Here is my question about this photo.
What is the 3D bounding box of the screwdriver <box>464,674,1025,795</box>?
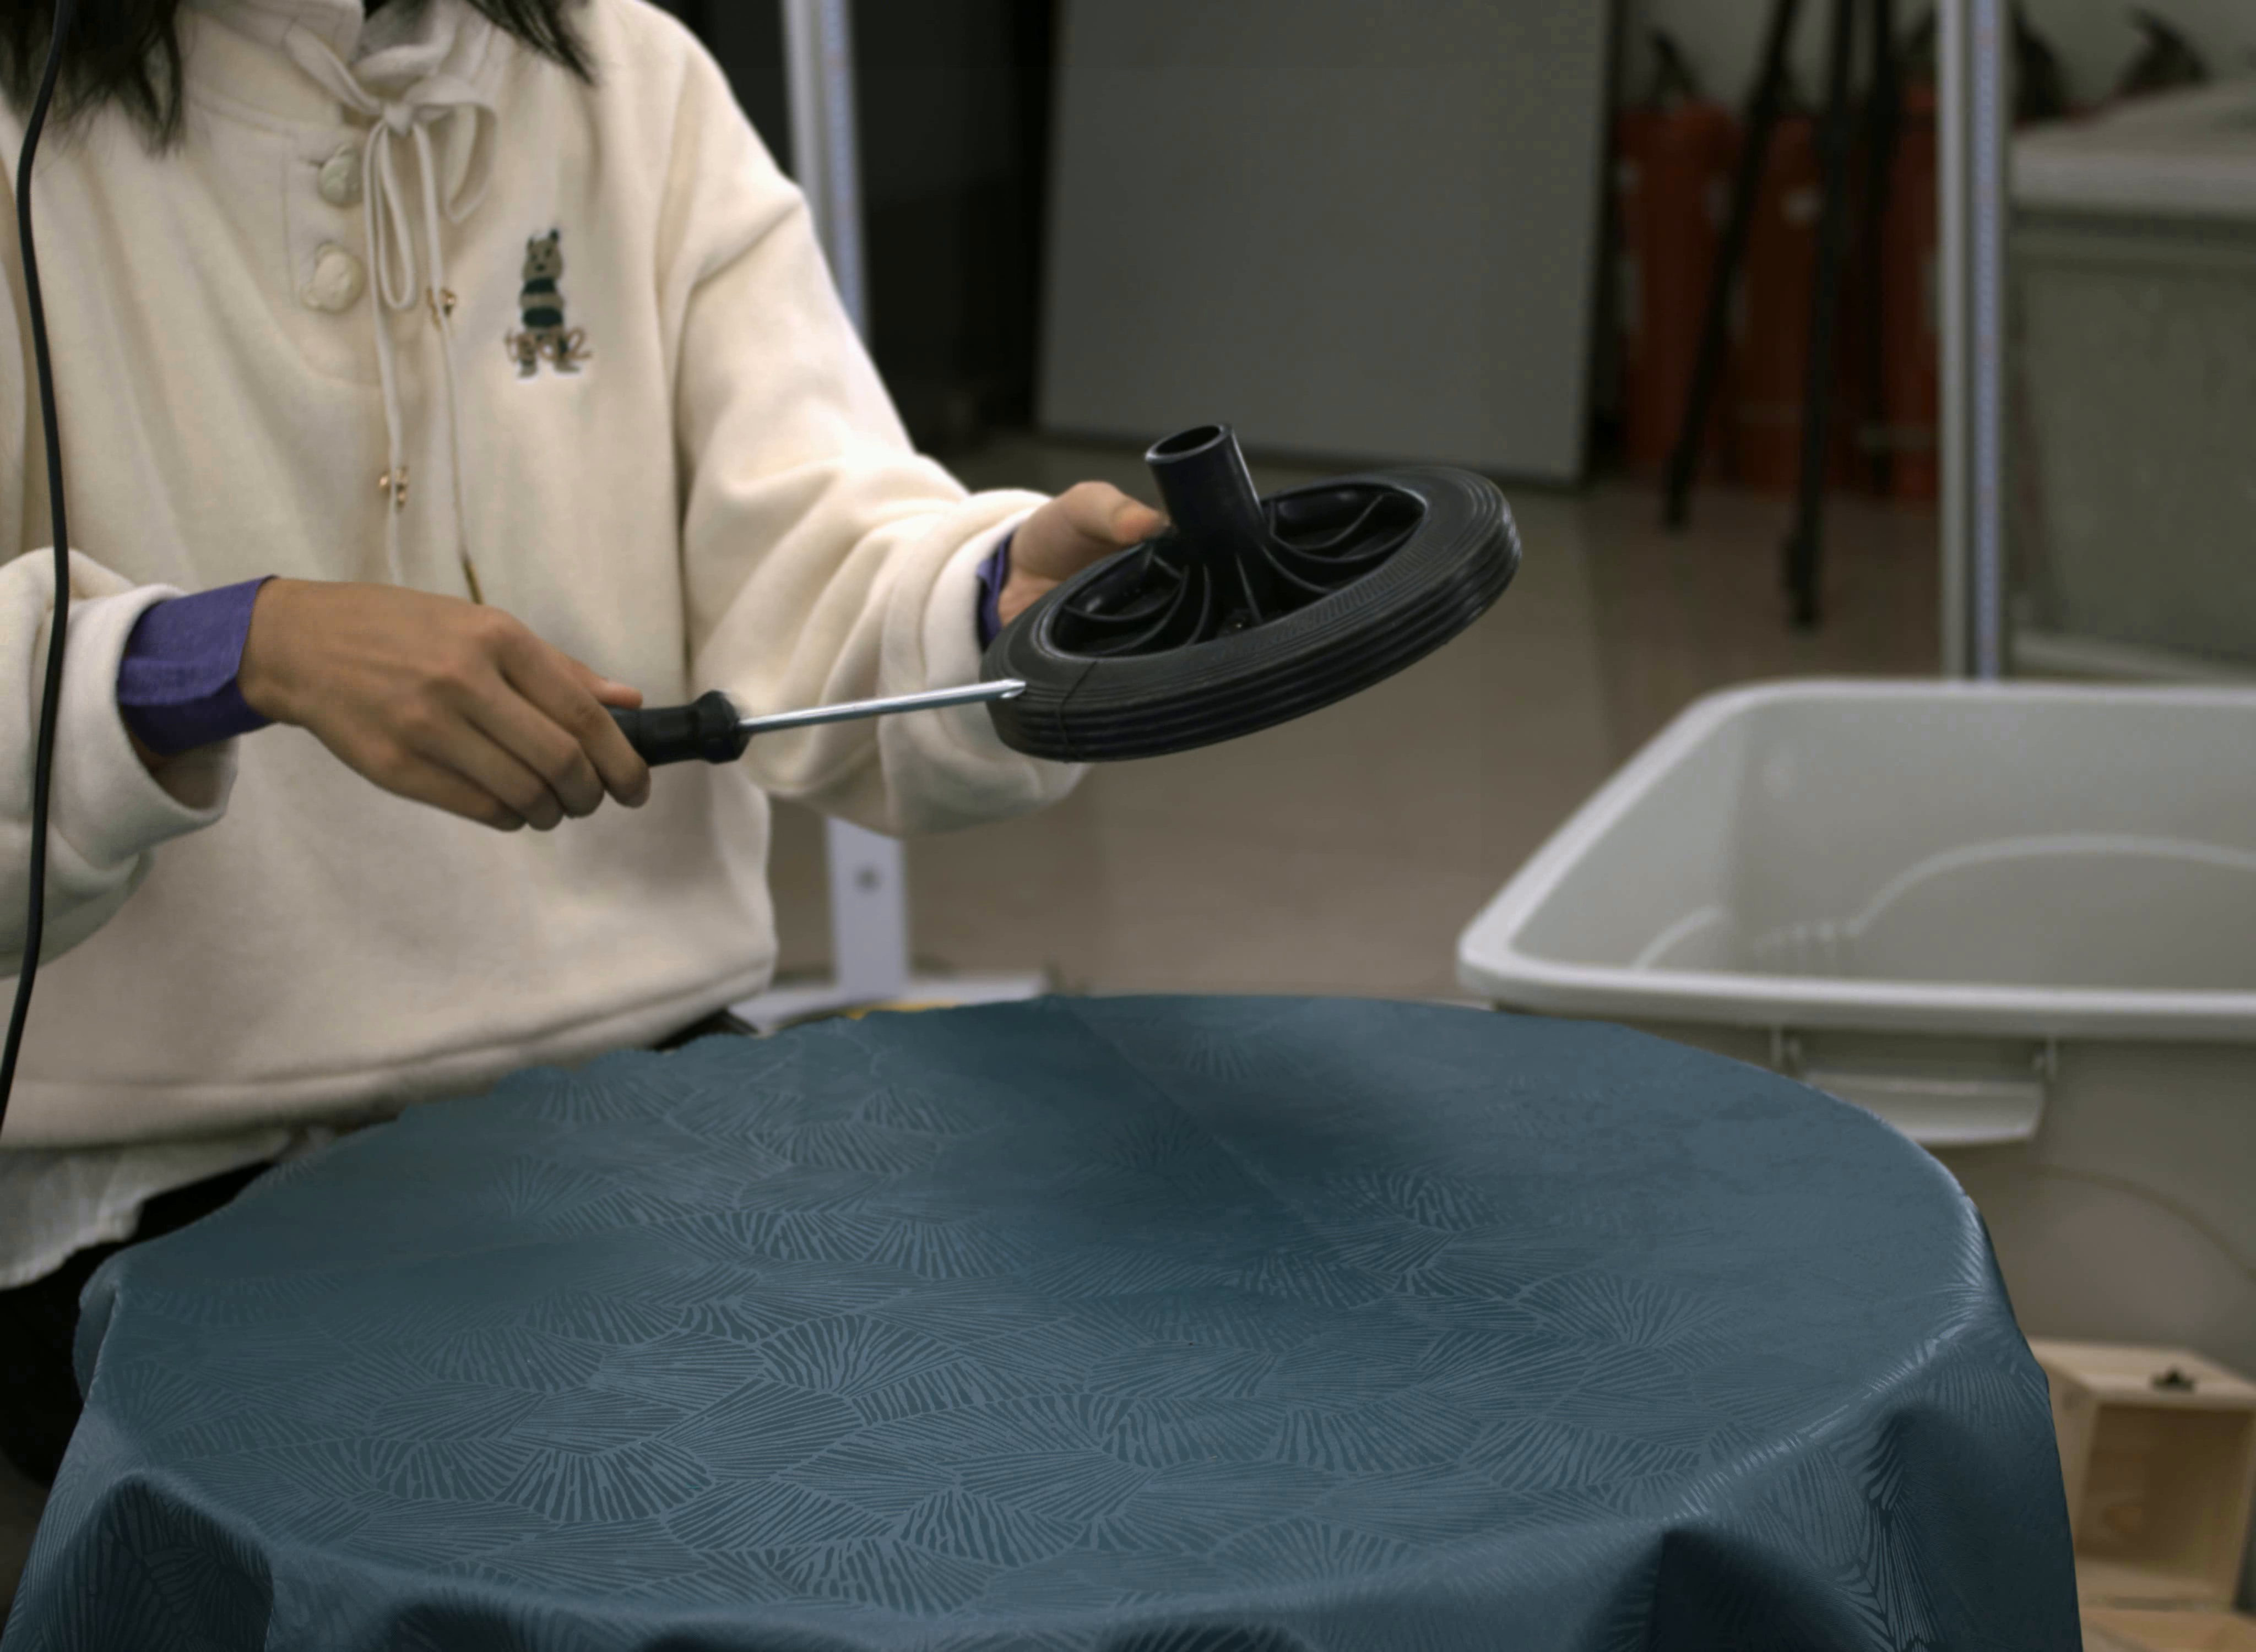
[{"bbox_3d":[-0.127,-0.038,1.786,0.195,0.032,0.031,-11,11,15],"label":"screwdriver"}]

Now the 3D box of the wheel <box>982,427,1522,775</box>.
[{"bbox_3d":[0.034,-0.089,1.788,0.185,0.079,0.191,-23,21,-3],"label":"wheel"}]
